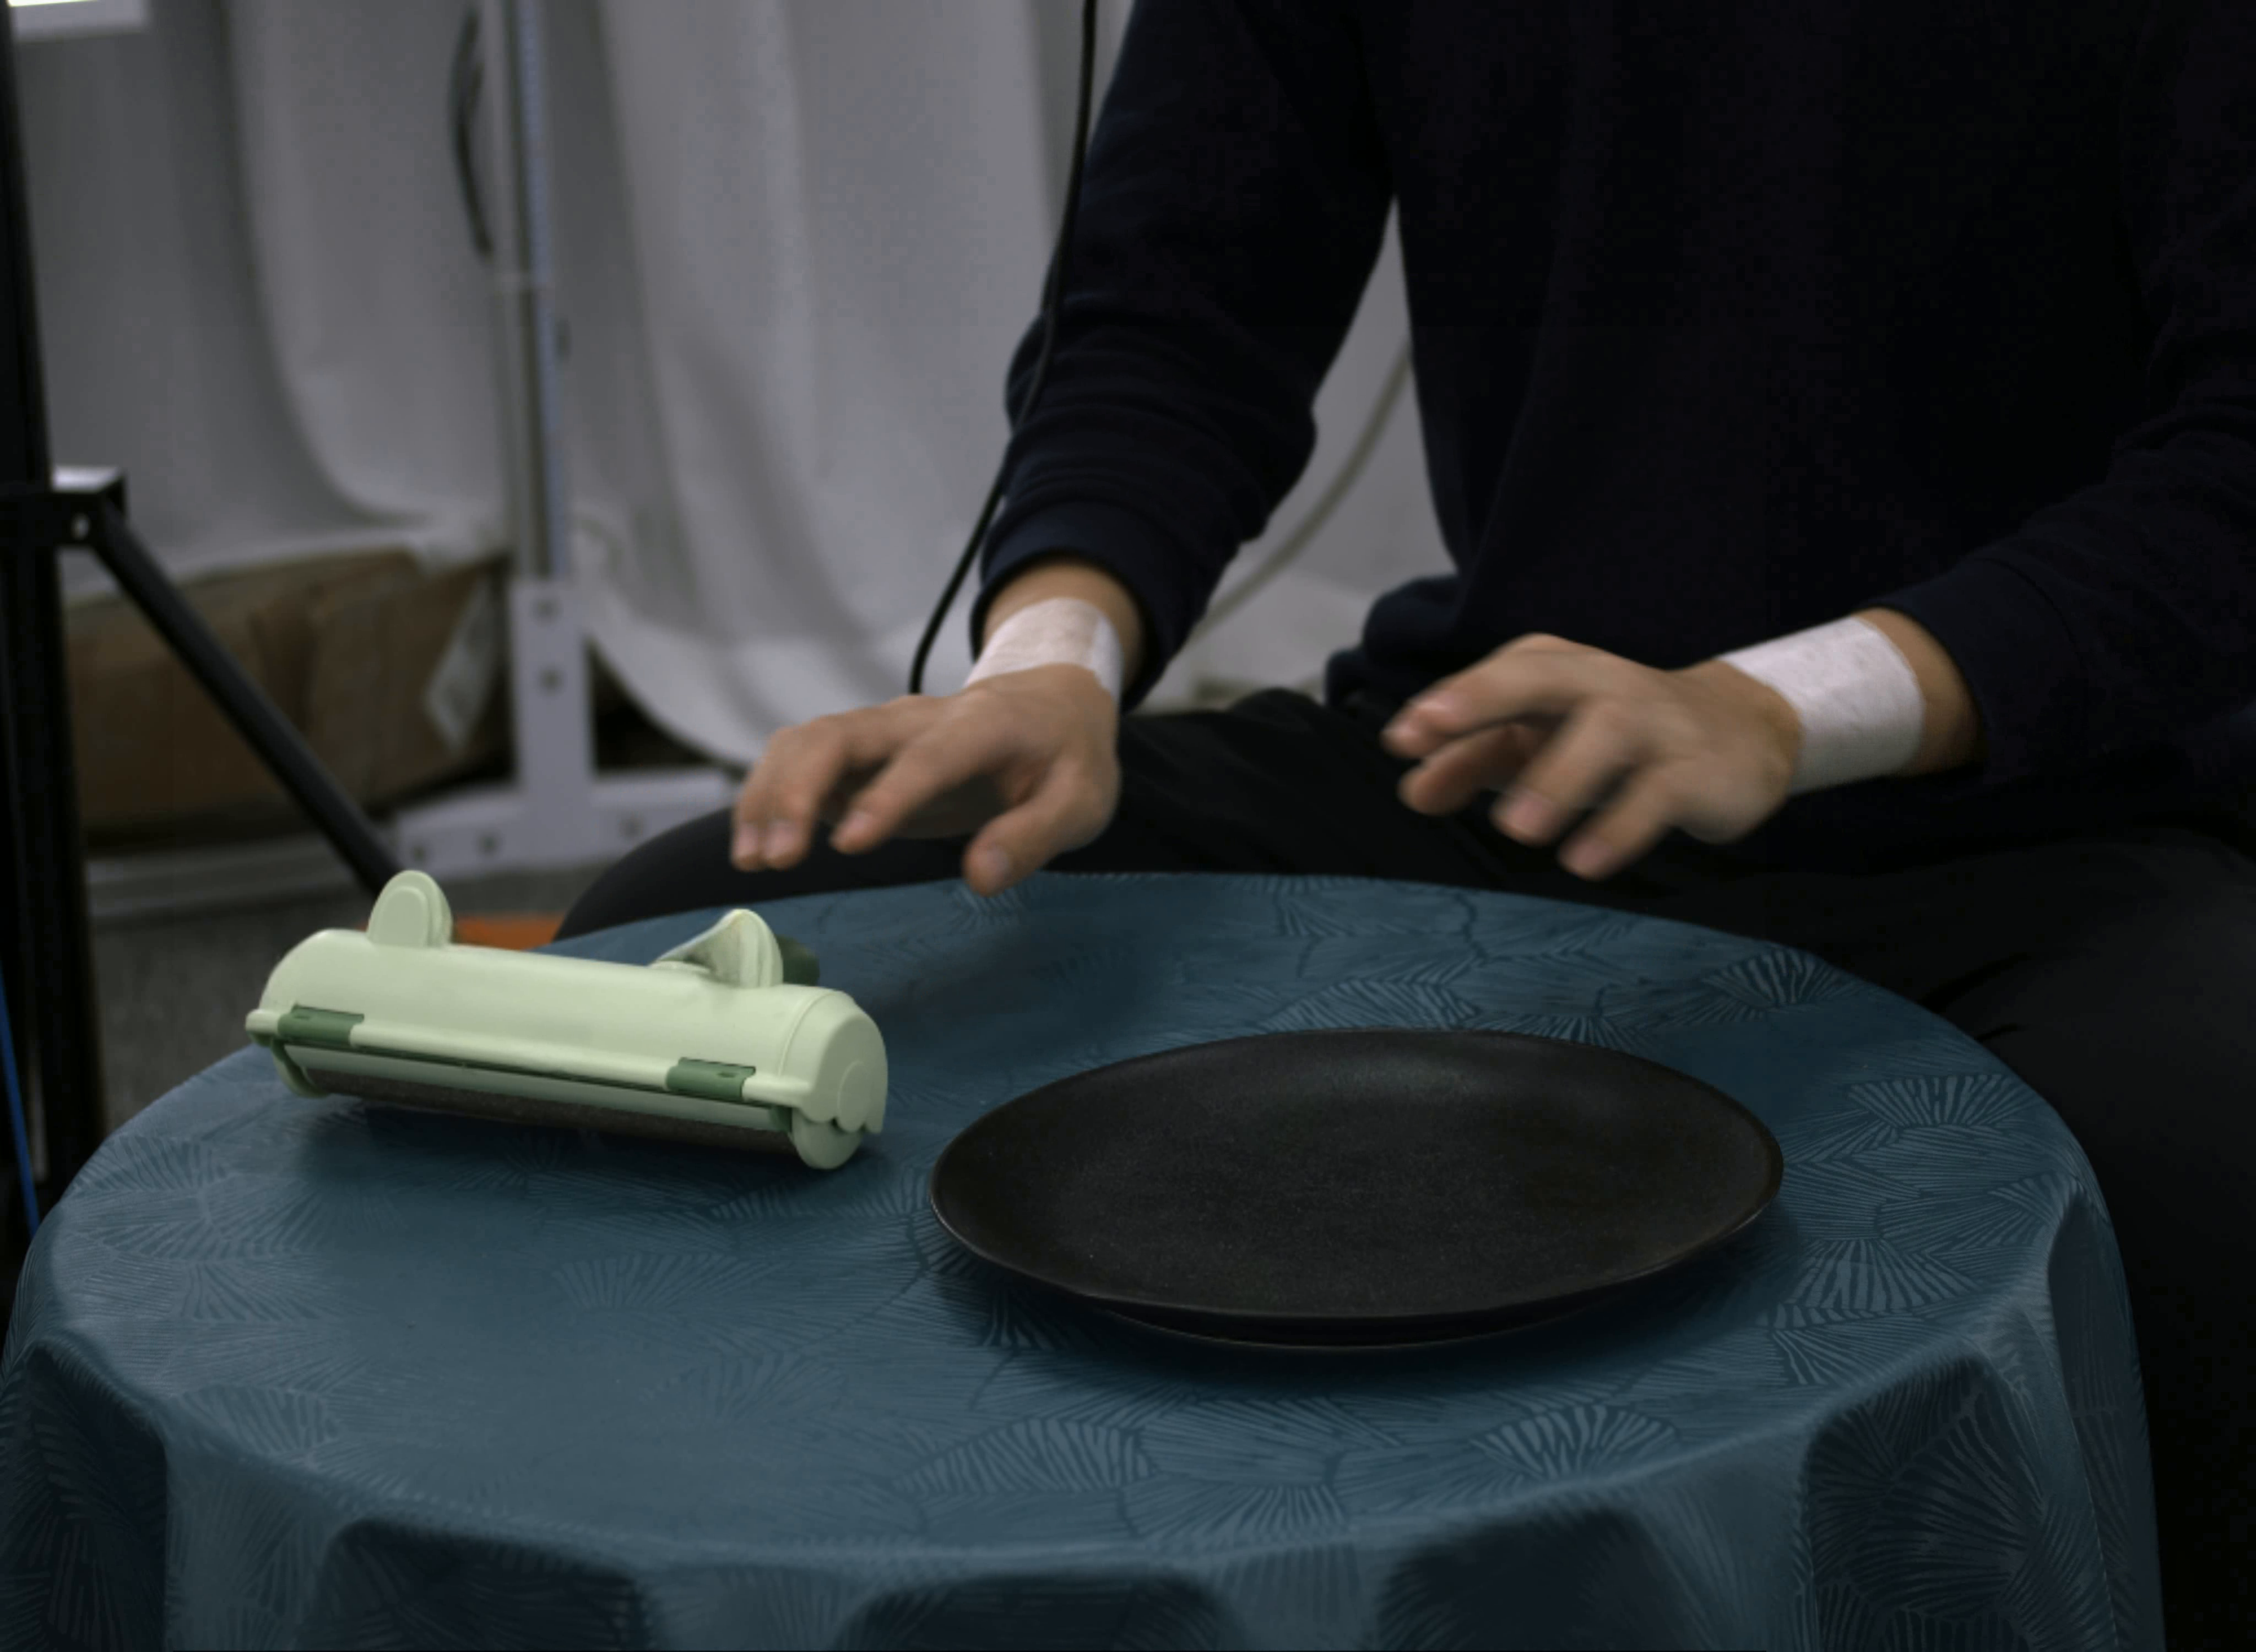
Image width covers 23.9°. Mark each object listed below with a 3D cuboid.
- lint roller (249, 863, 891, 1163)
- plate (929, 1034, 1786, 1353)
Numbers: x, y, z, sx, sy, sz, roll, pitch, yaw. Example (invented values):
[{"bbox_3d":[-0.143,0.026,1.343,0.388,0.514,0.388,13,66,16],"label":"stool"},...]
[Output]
[{"bbox_3d":[-0.147,0.039,1.668,0.201,0.082,0.181,6,24,25],"label":"lint roller"},{"bbox_3d":[0.065,0.107,1.508,0.243,0.023,0.245,-3,16,-1],"label":"plate"}]
